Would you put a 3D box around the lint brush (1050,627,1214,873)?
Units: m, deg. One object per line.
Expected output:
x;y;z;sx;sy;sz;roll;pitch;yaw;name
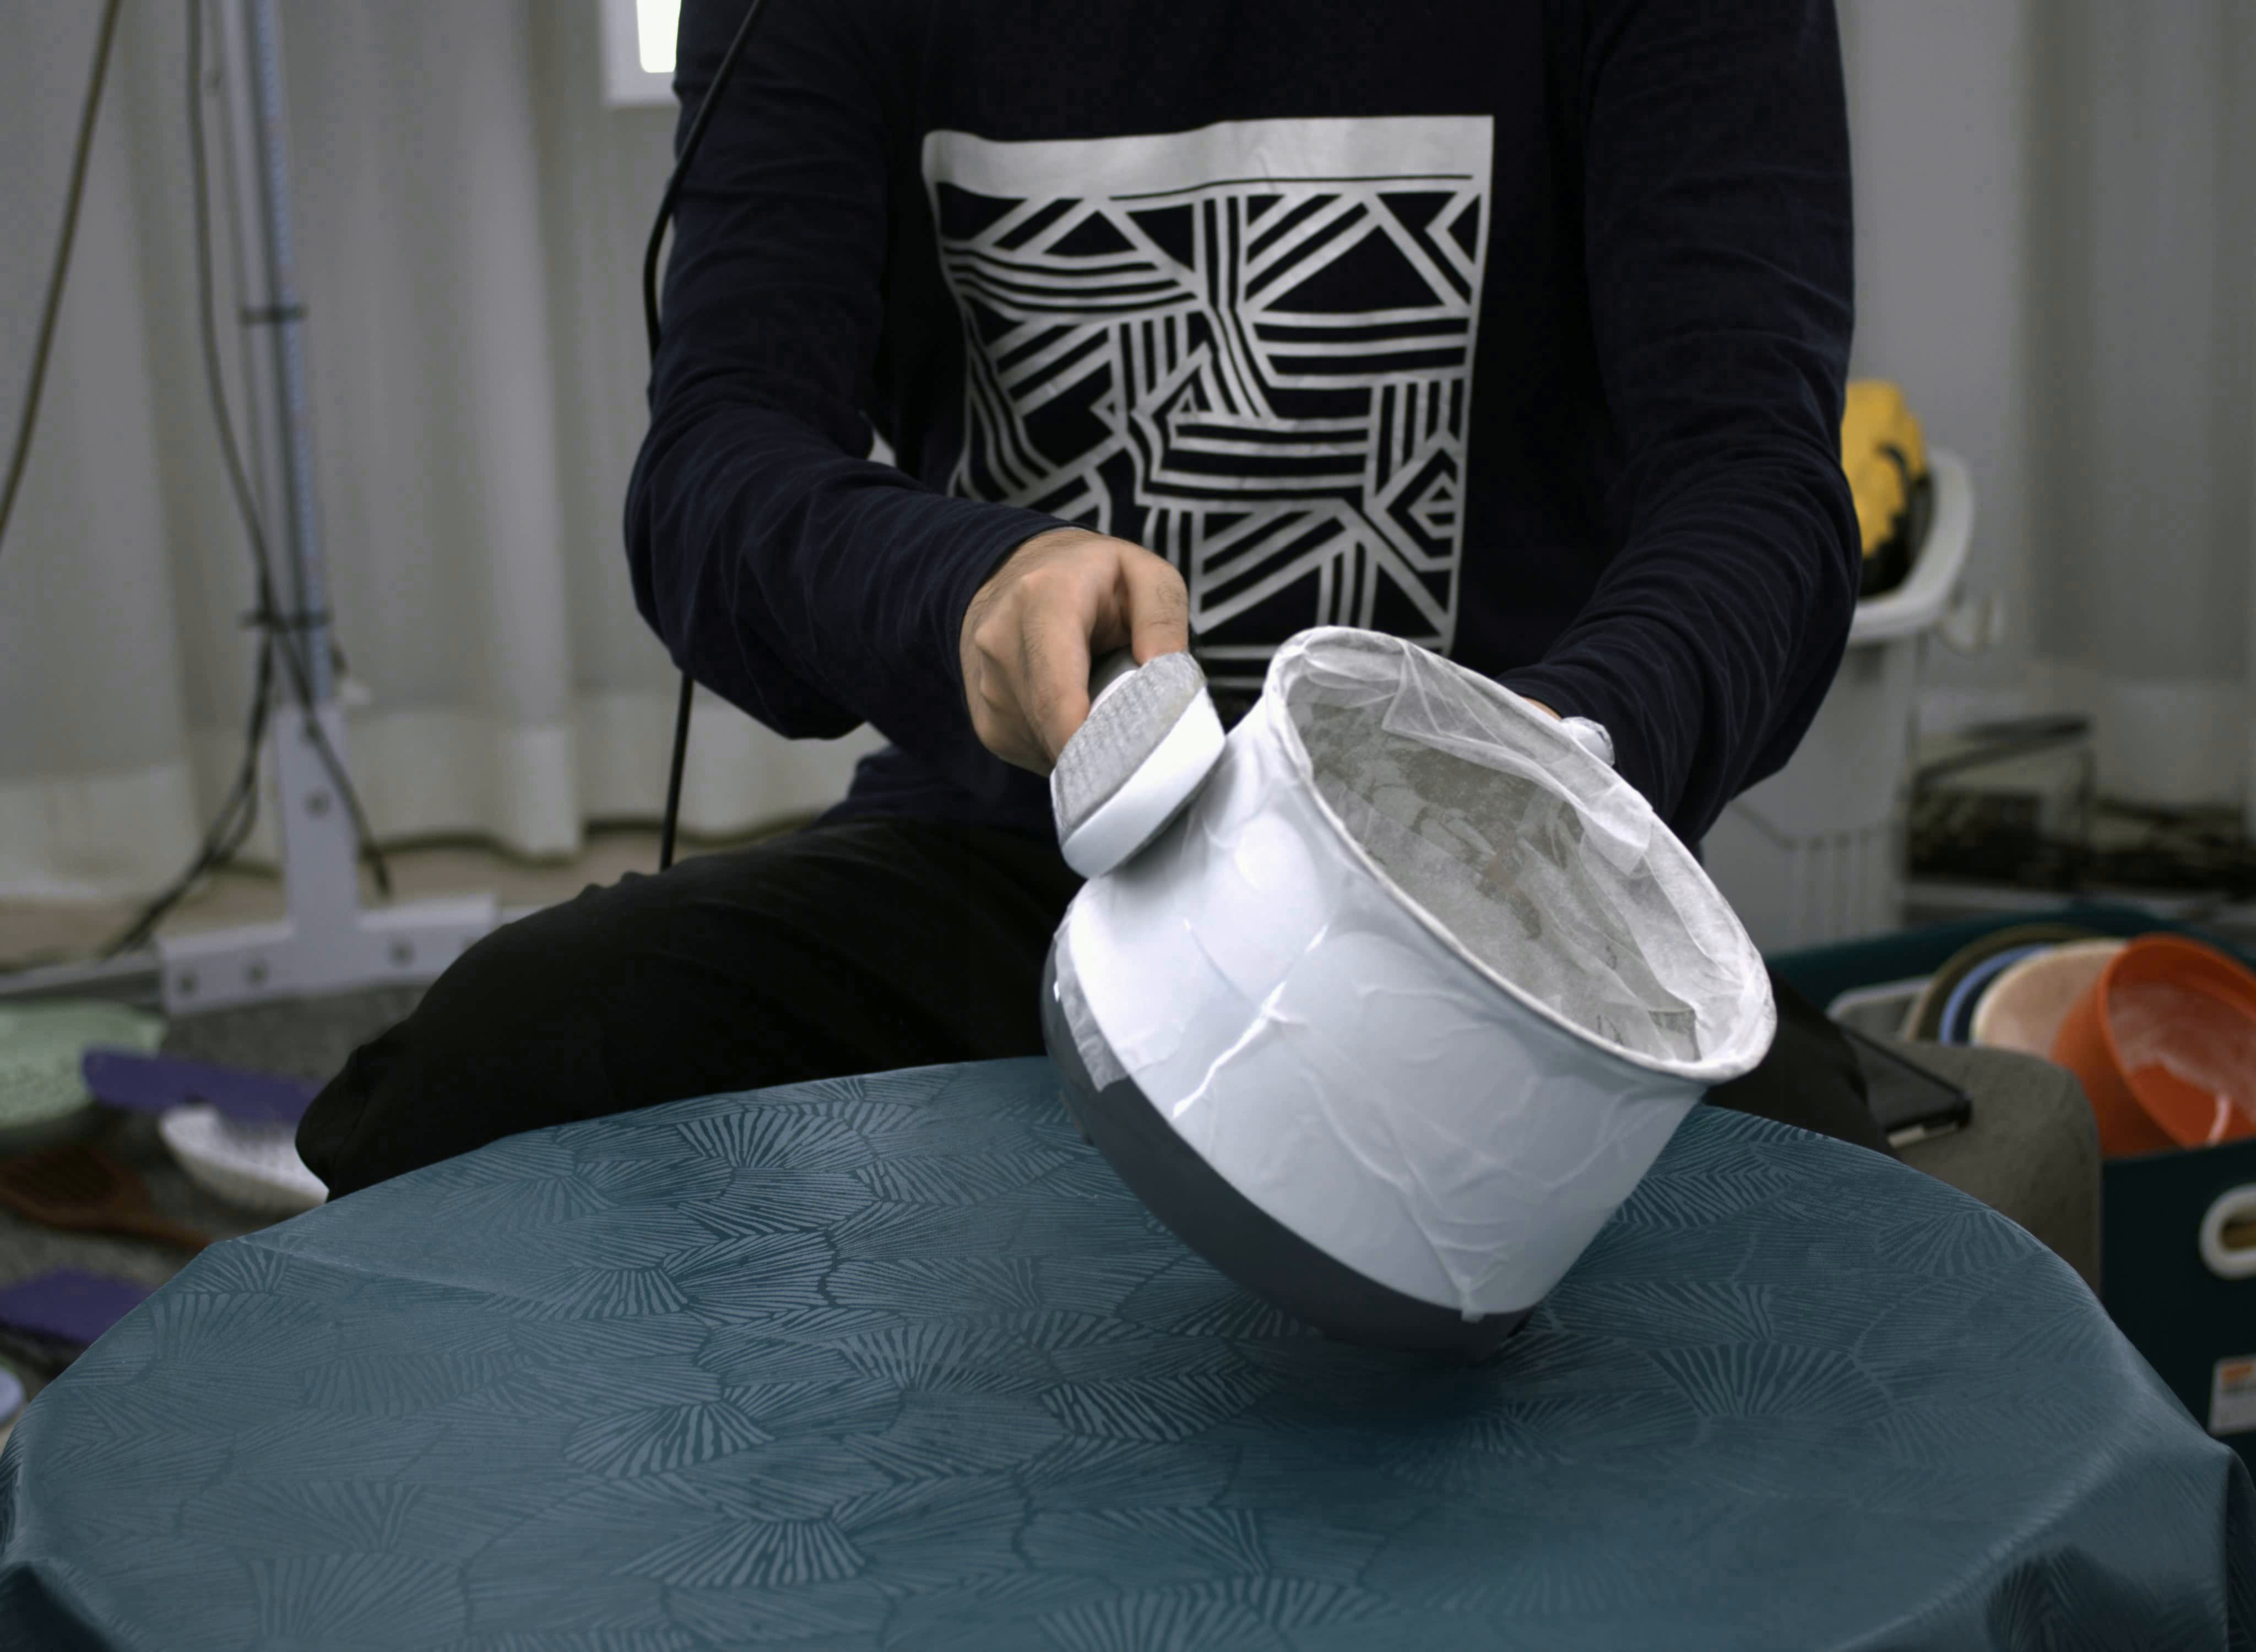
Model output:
0.000;-0.032;1.635;0.021;0.060;0.310;39;6;-6;lint brush

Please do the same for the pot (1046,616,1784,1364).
0.083;0.039;1.567;0.178;0.136;0.235;41;25;-1;pot
